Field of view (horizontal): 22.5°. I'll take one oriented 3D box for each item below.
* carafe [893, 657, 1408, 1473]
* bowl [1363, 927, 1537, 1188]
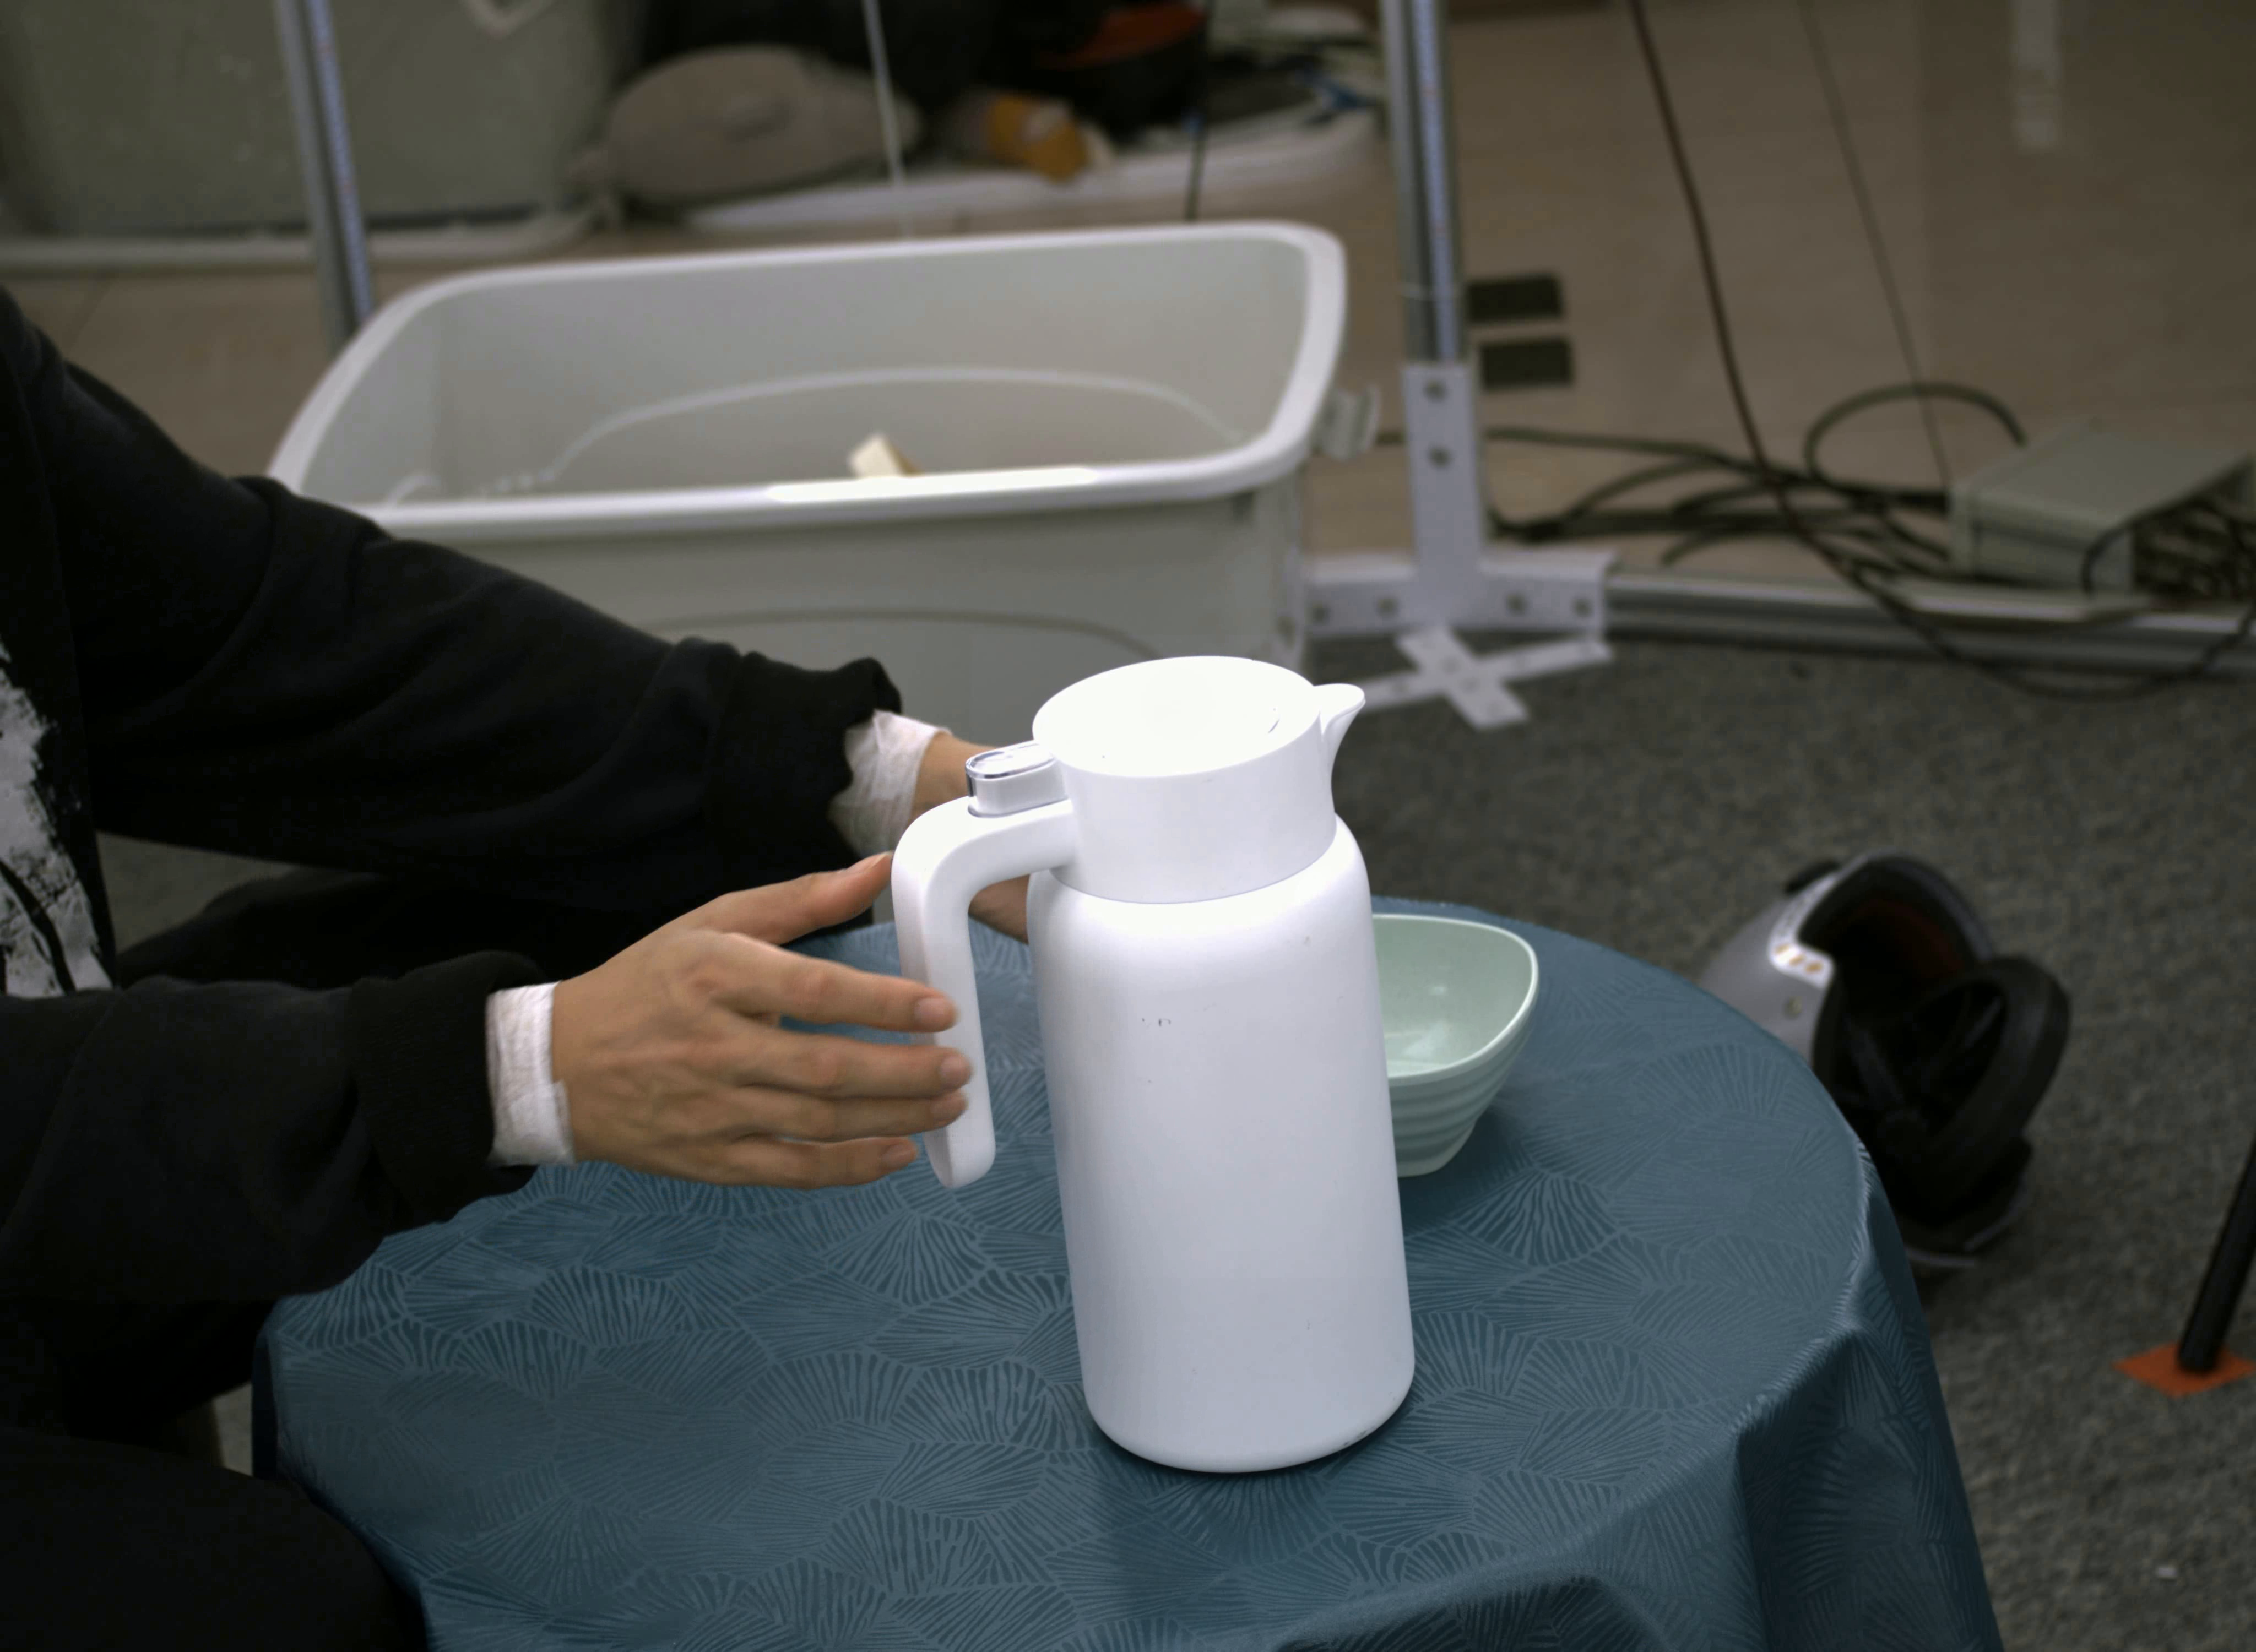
[{"bbox_3d":[0.014,0.087,1.938,0.172,0.273,0.122,-16,29,-19],"label":"carafe"},{"bbox_3d":[0.088,0.093,2.164,0.151,0.059,0.149,-6,25,3],"label":"bowl"}]
